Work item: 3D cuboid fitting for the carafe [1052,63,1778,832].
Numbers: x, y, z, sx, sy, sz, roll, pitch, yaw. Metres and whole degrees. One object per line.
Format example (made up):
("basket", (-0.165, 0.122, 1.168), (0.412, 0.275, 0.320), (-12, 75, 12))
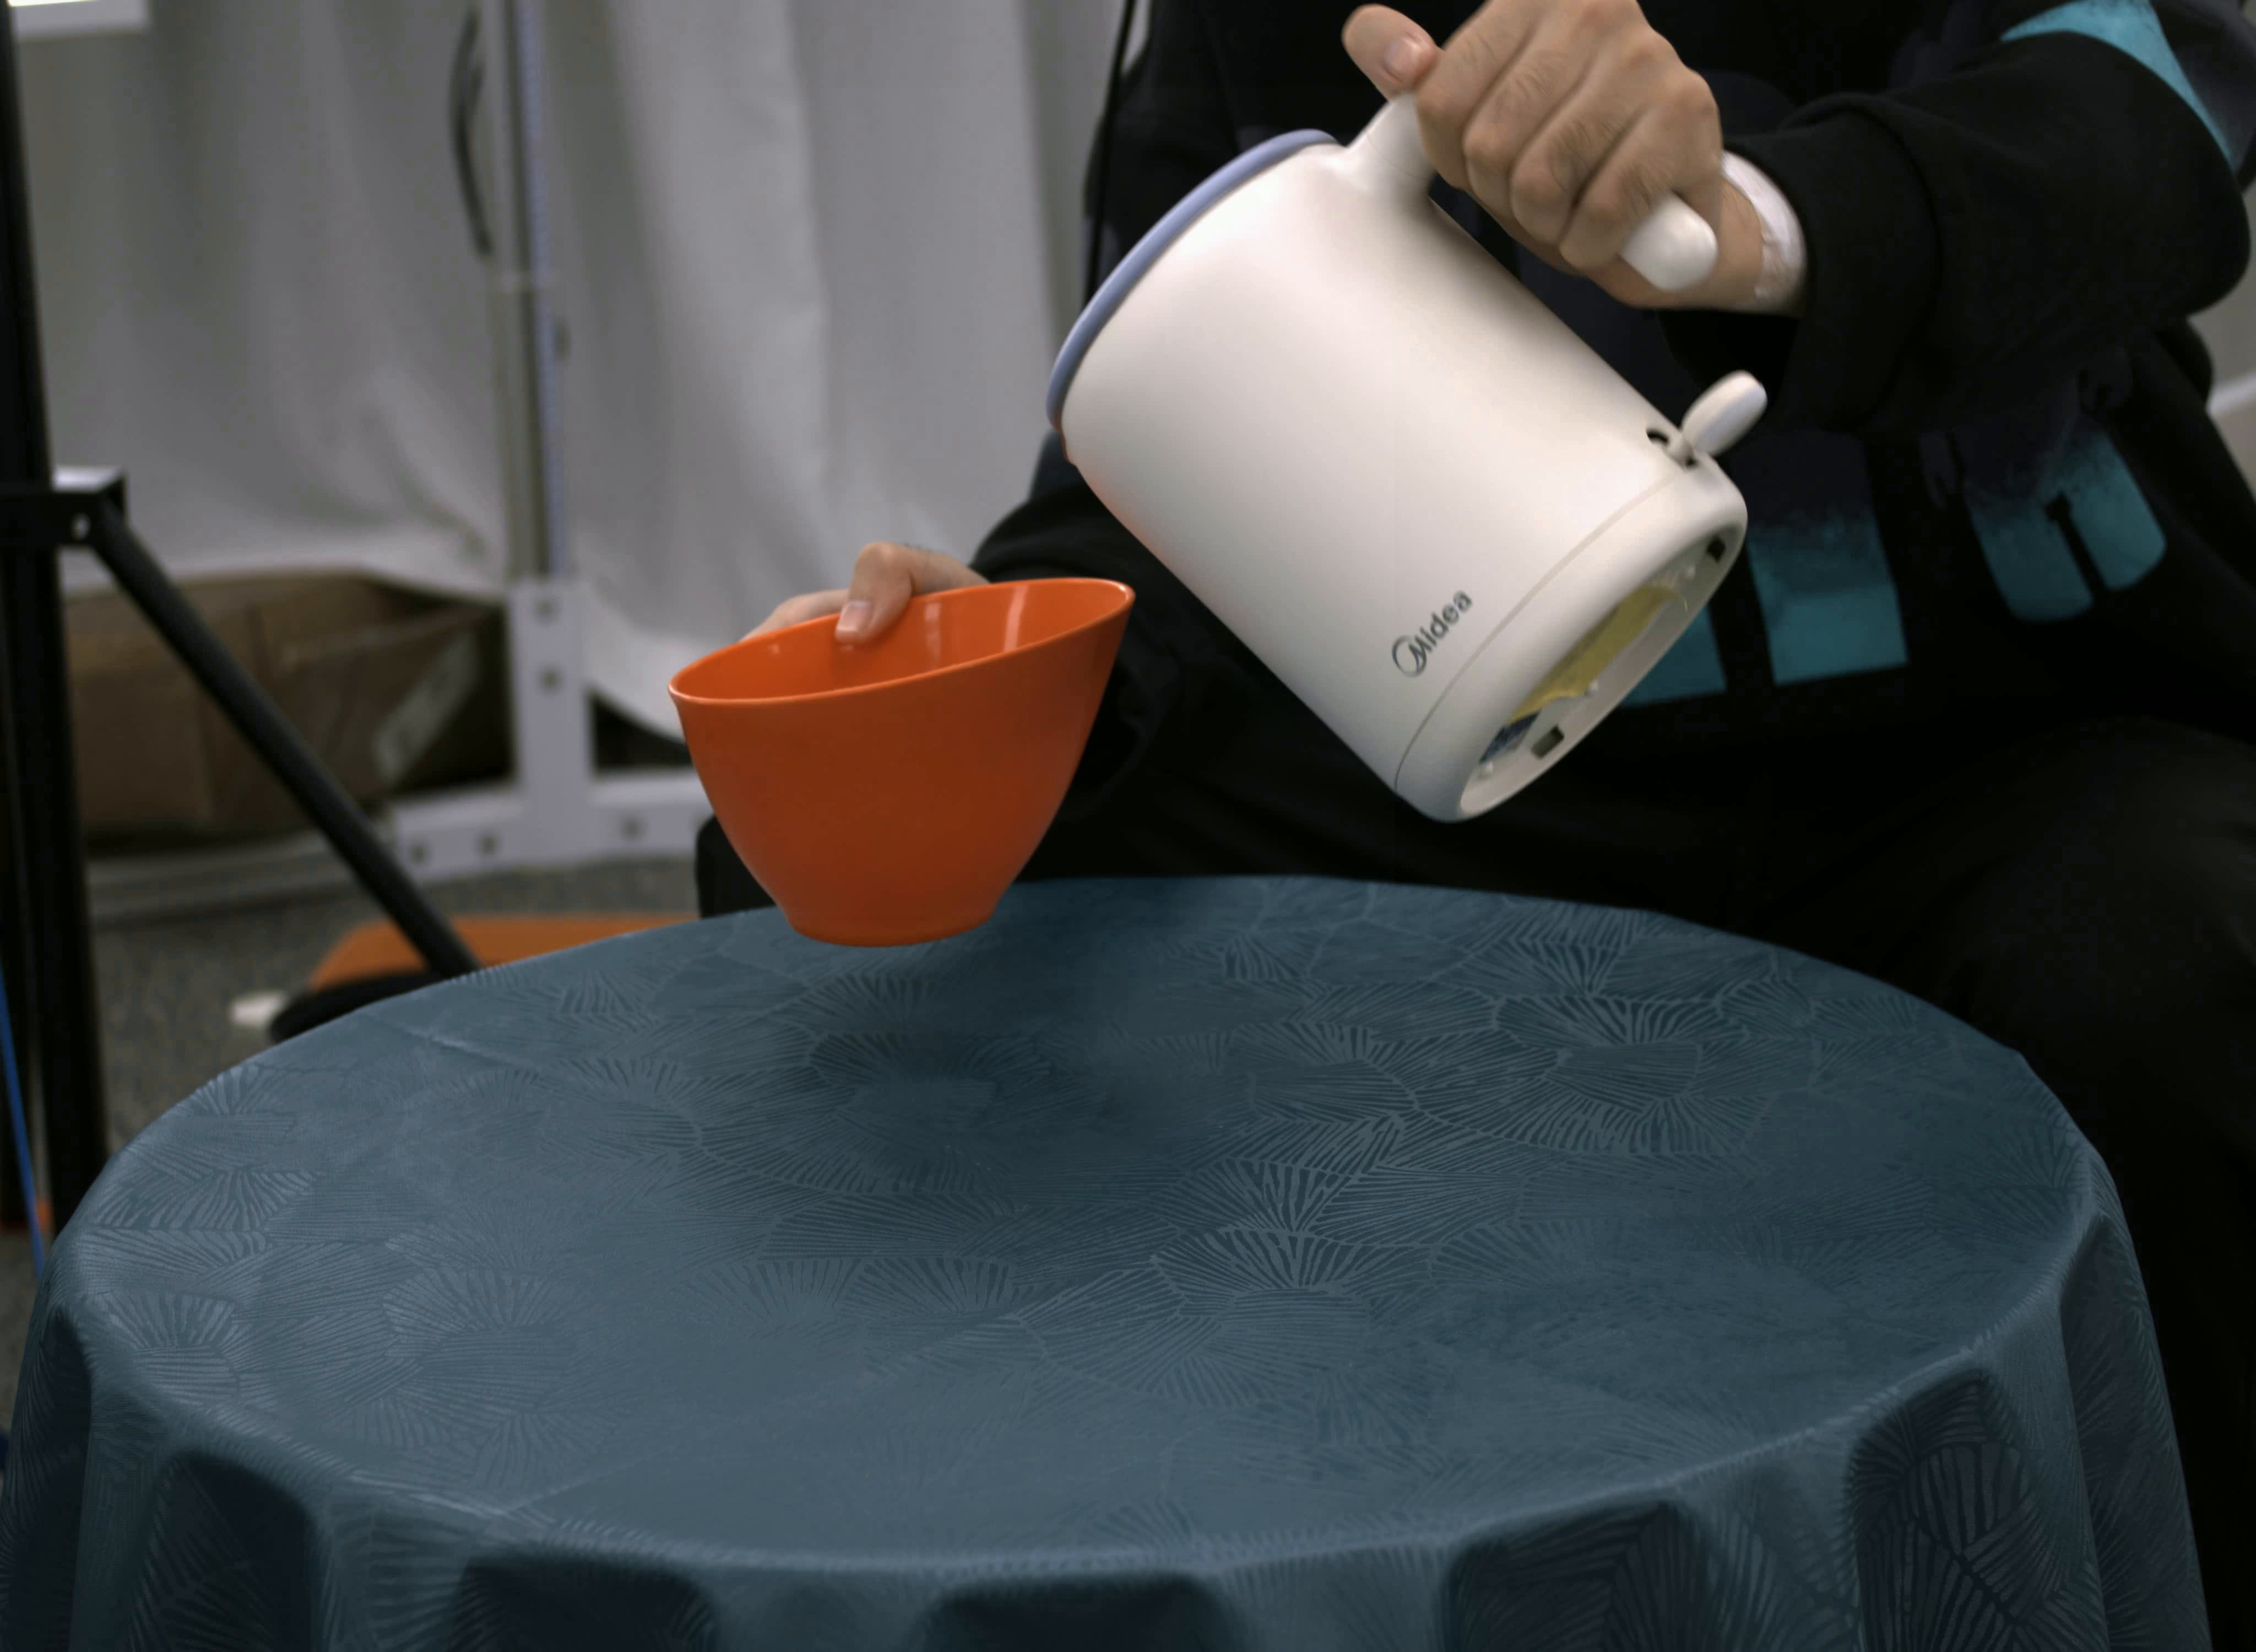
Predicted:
("carafe", (0.093, -0.117, 1.526), (0.184, 0.192, 0.130), (48, 26, 12))

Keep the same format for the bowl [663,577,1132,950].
("bowl", (-0.070, -0.019, 1.668), (0.147, 0.104, 0.149), (-3, 19, 0))
